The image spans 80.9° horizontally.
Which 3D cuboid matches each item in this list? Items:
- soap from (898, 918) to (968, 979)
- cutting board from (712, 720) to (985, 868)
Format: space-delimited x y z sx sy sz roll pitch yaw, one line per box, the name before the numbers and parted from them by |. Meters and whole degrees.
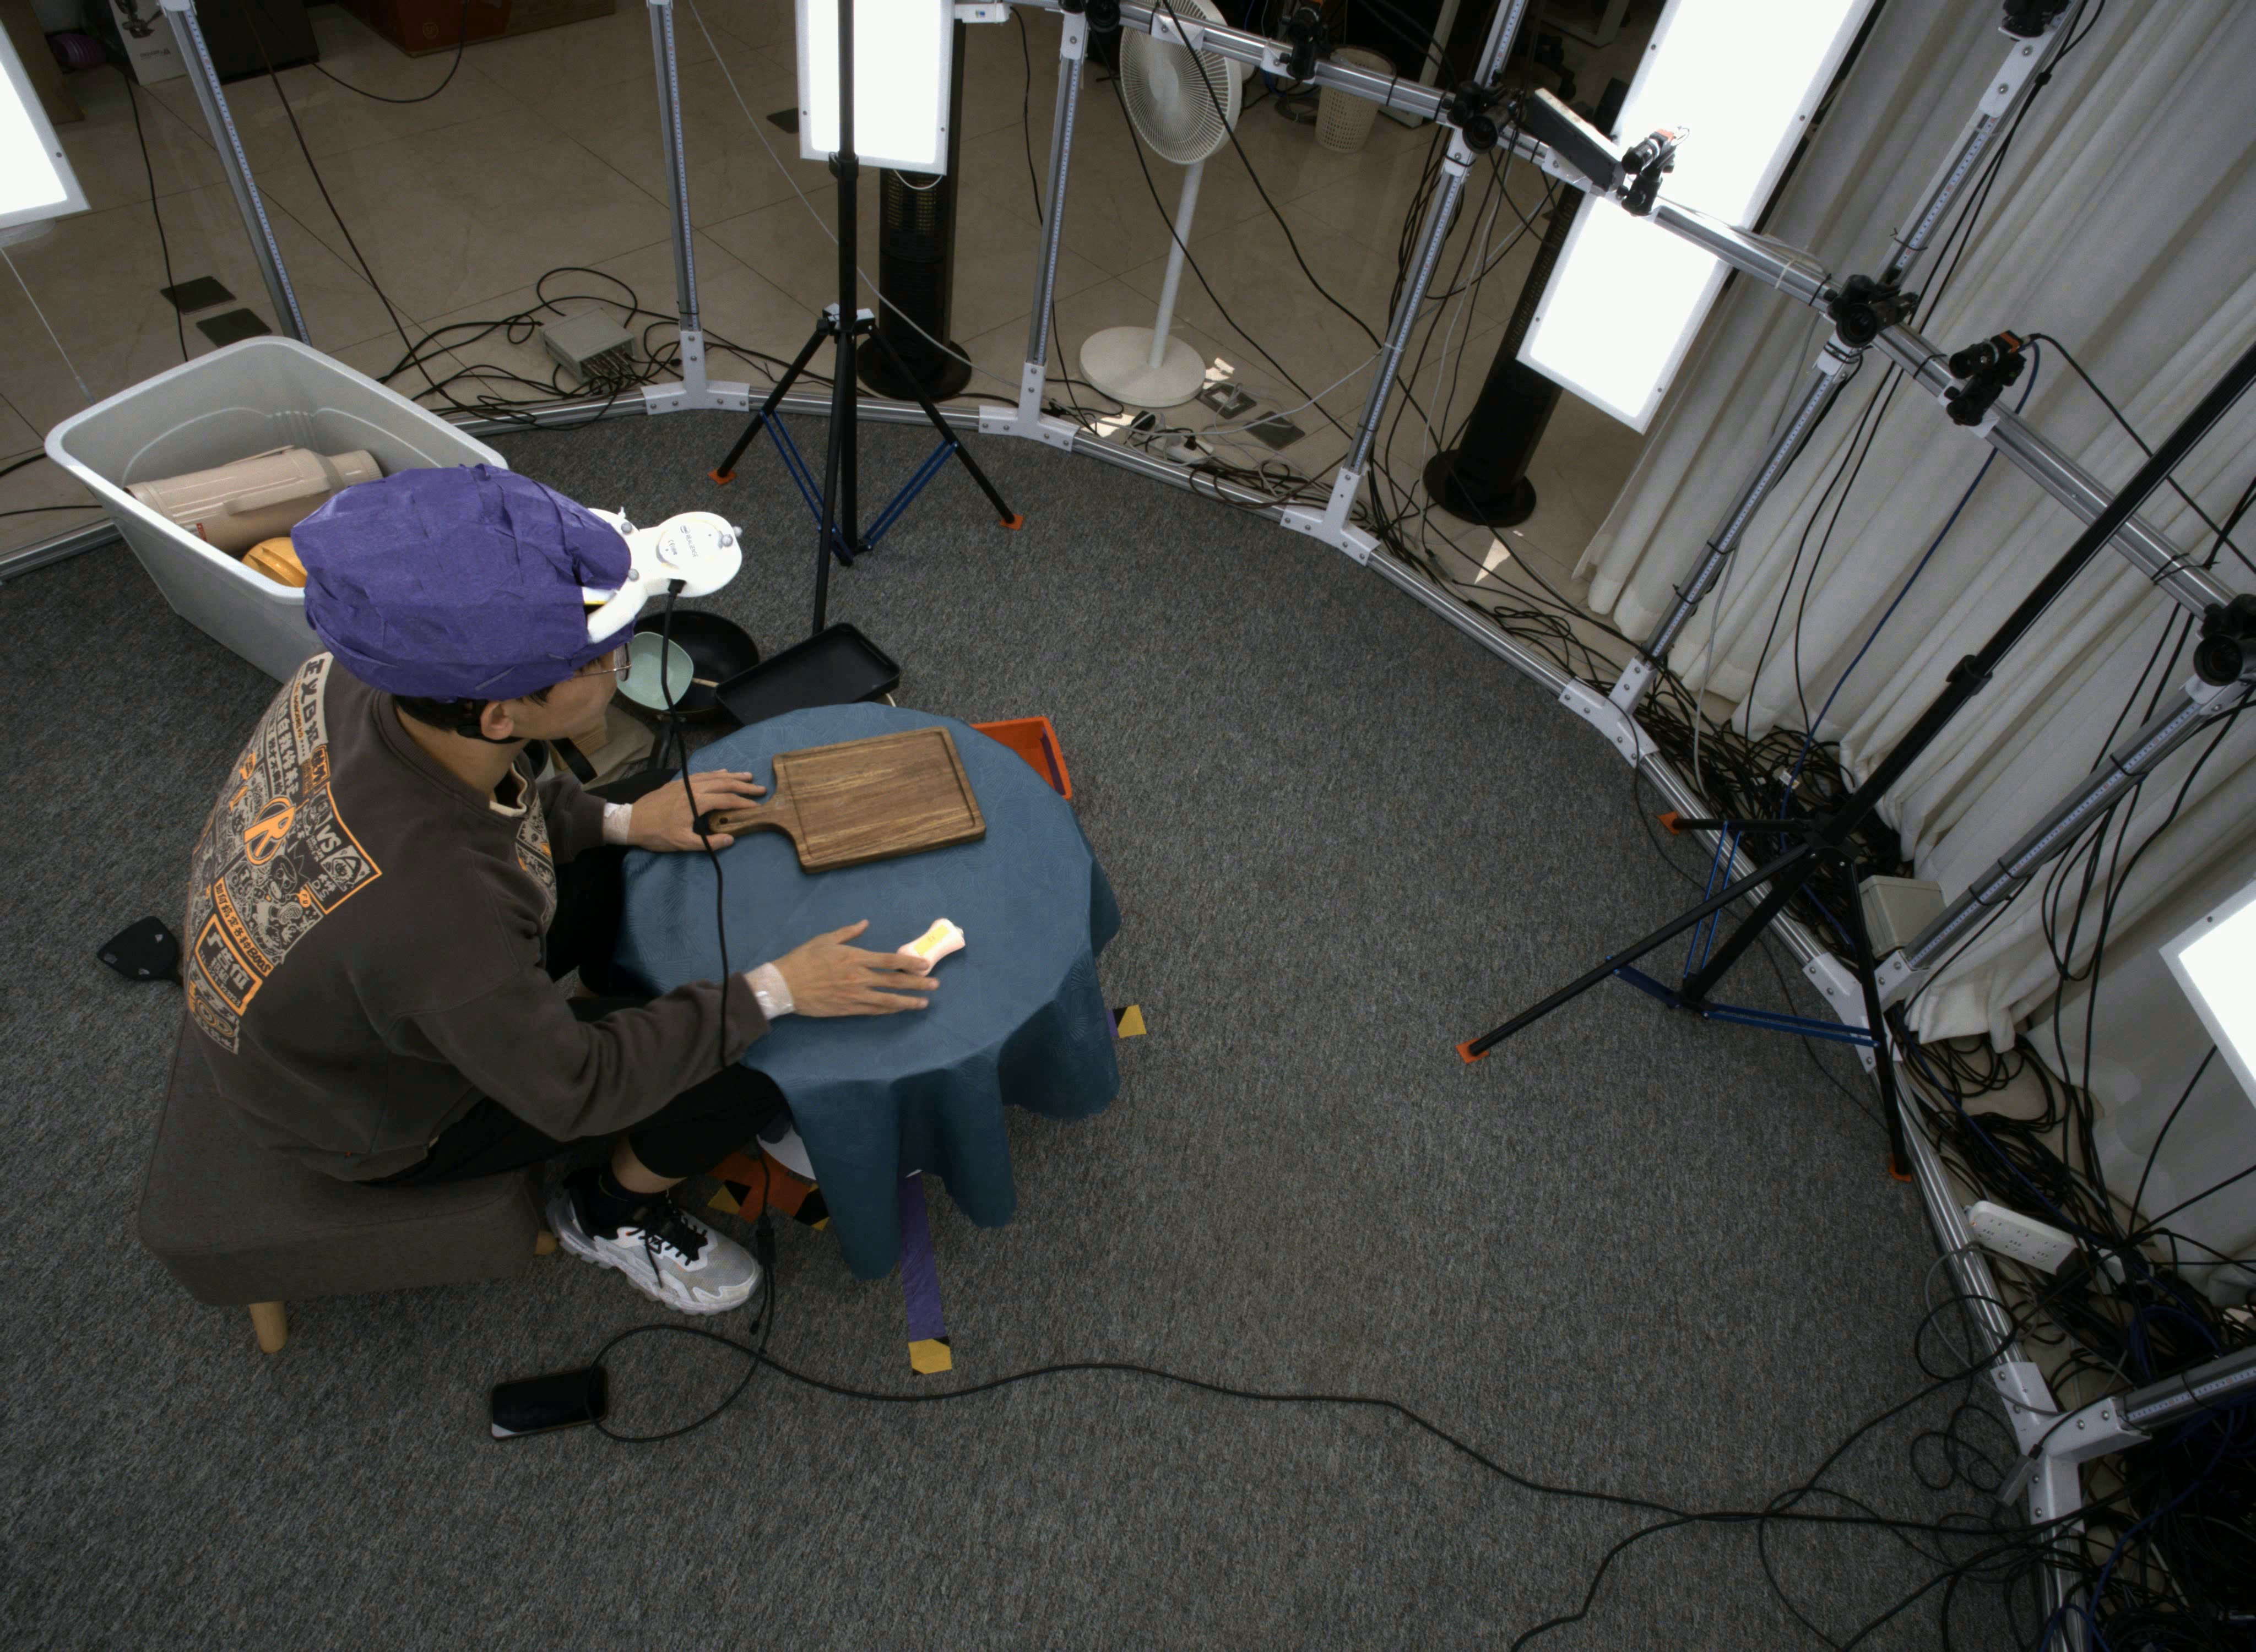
soap | -0.247 0.153 1.652 0.049 0.031 0.094 39 57 18
cutting board | -0.386 -0.040 1.764 0.353 0.023 0.196 -11 58 -21
